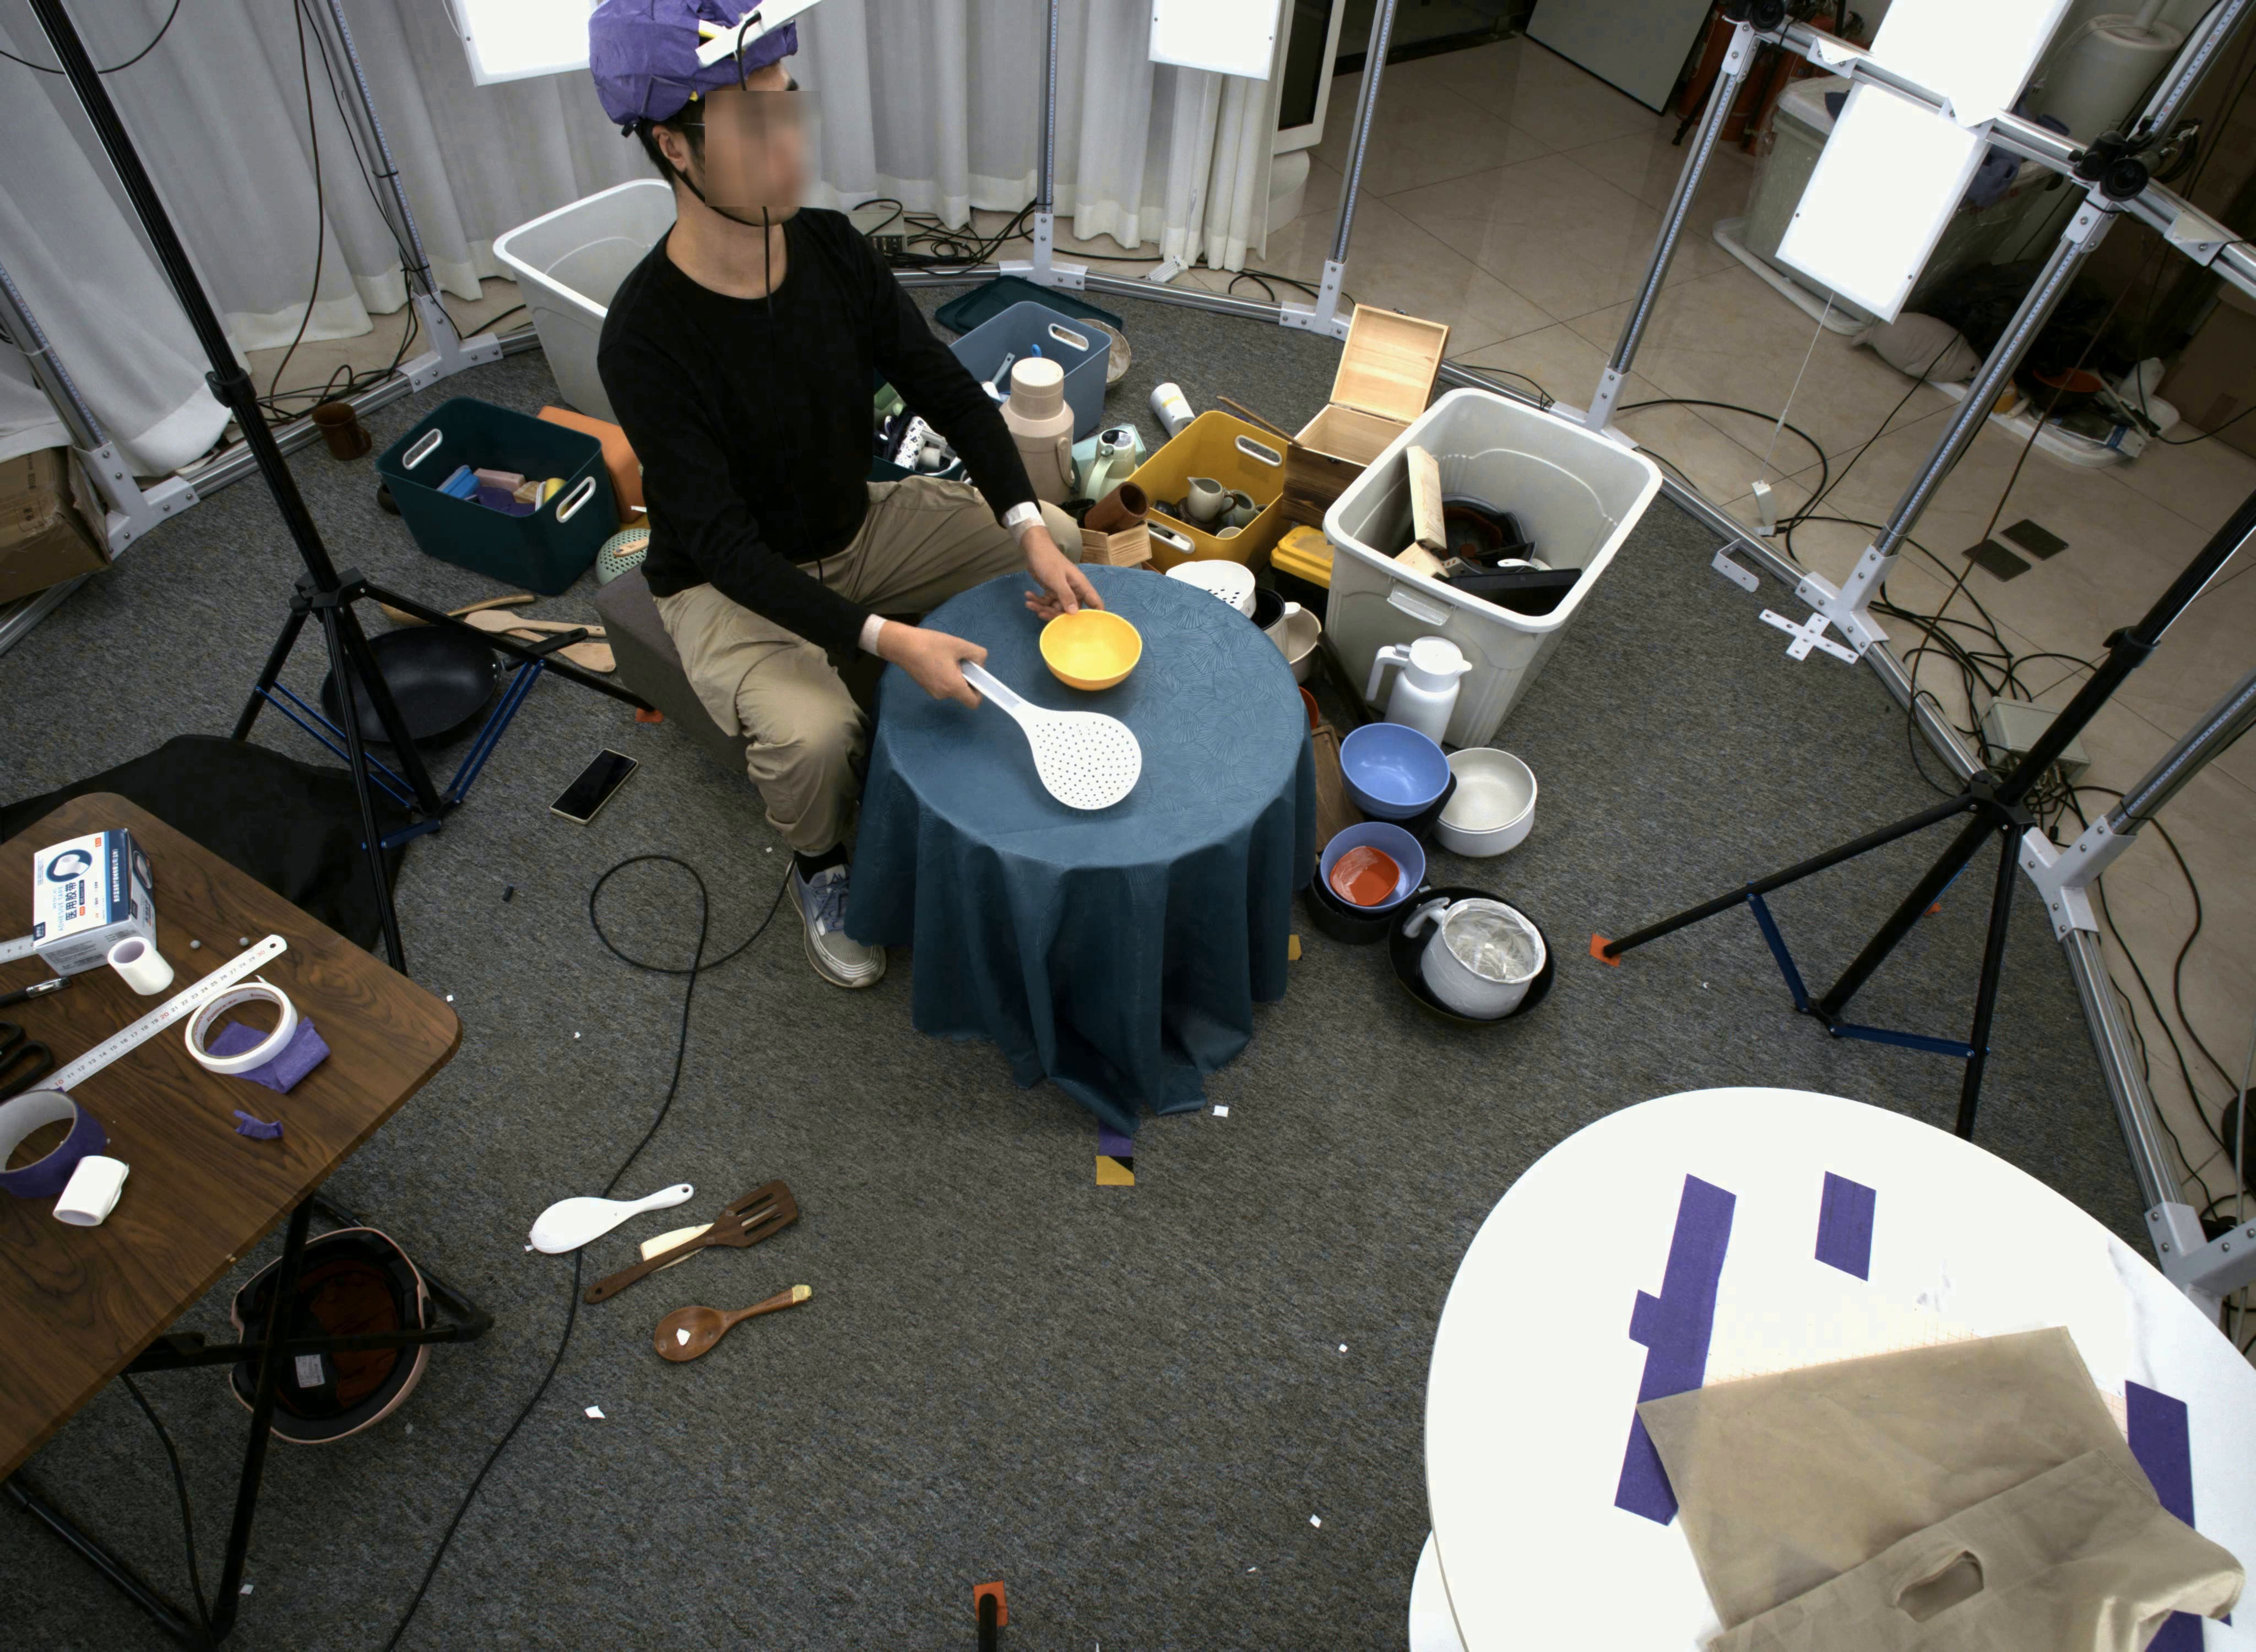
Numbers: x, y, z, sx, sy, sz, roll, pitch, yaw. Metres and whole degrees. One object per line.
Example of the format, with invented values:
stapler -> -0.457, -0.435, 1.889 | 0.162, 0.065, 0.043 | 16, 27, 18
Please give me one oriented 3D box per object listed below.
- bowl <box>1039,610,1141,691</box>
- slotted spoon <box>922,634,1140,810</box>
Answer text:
bowl -> -0.056, -0.240, 1.838 | 0.145, 0.059, 0.149 | 3, 50, -4
slotted spoon -> -0.136, -0.148, 1.716 | 0.351, 0.045, 0.137 | 38, 75, 8
